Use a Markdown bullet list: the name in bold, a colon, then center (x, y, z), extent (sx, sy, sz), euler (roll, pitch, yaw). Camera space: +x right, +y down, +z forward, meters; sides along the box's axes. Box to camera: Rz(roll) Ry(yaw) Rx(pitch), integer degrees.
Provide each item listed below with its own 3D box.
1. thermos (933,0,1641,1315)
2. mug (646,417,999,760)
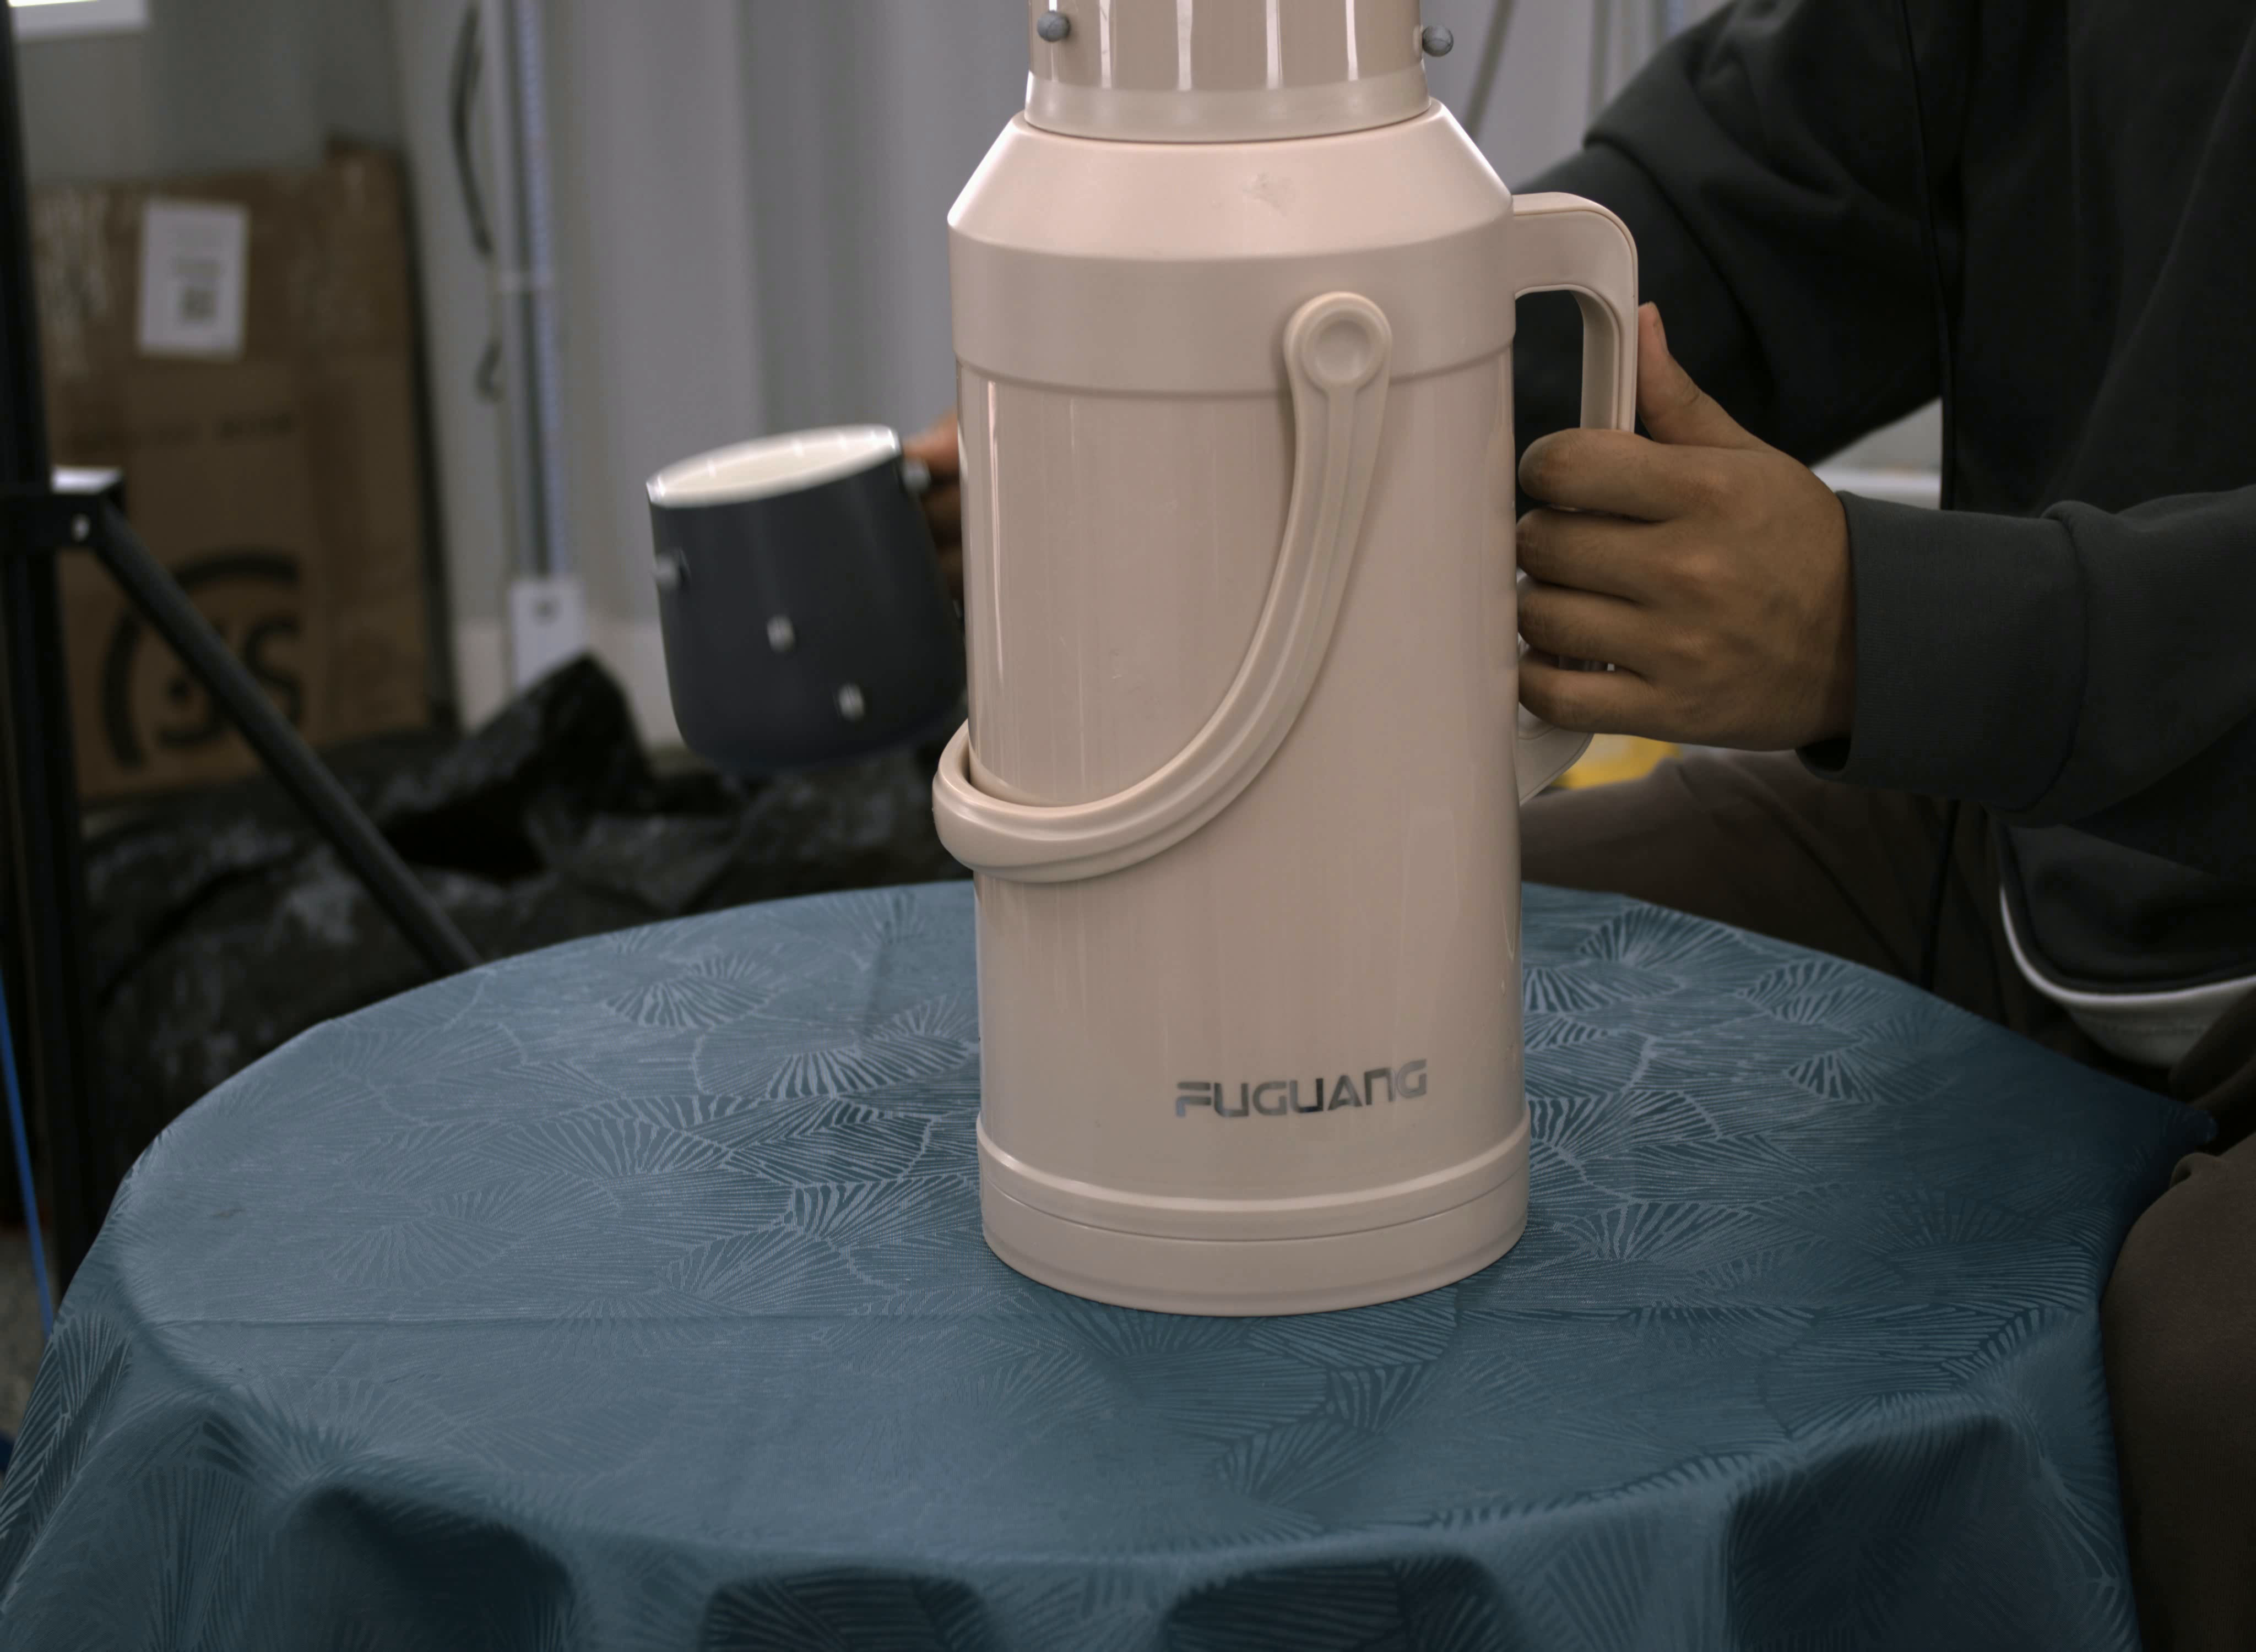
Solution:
- **thermos**: center (0.045, -0.079, 1.485), extent (0.203, 0.406, 0.178), euler (-7, 15, -16)
- **mug**: center (-0.089, -0.078, 1.666), extent (0.121, 0.090, 0.095), euler (-21, 16, -33)
